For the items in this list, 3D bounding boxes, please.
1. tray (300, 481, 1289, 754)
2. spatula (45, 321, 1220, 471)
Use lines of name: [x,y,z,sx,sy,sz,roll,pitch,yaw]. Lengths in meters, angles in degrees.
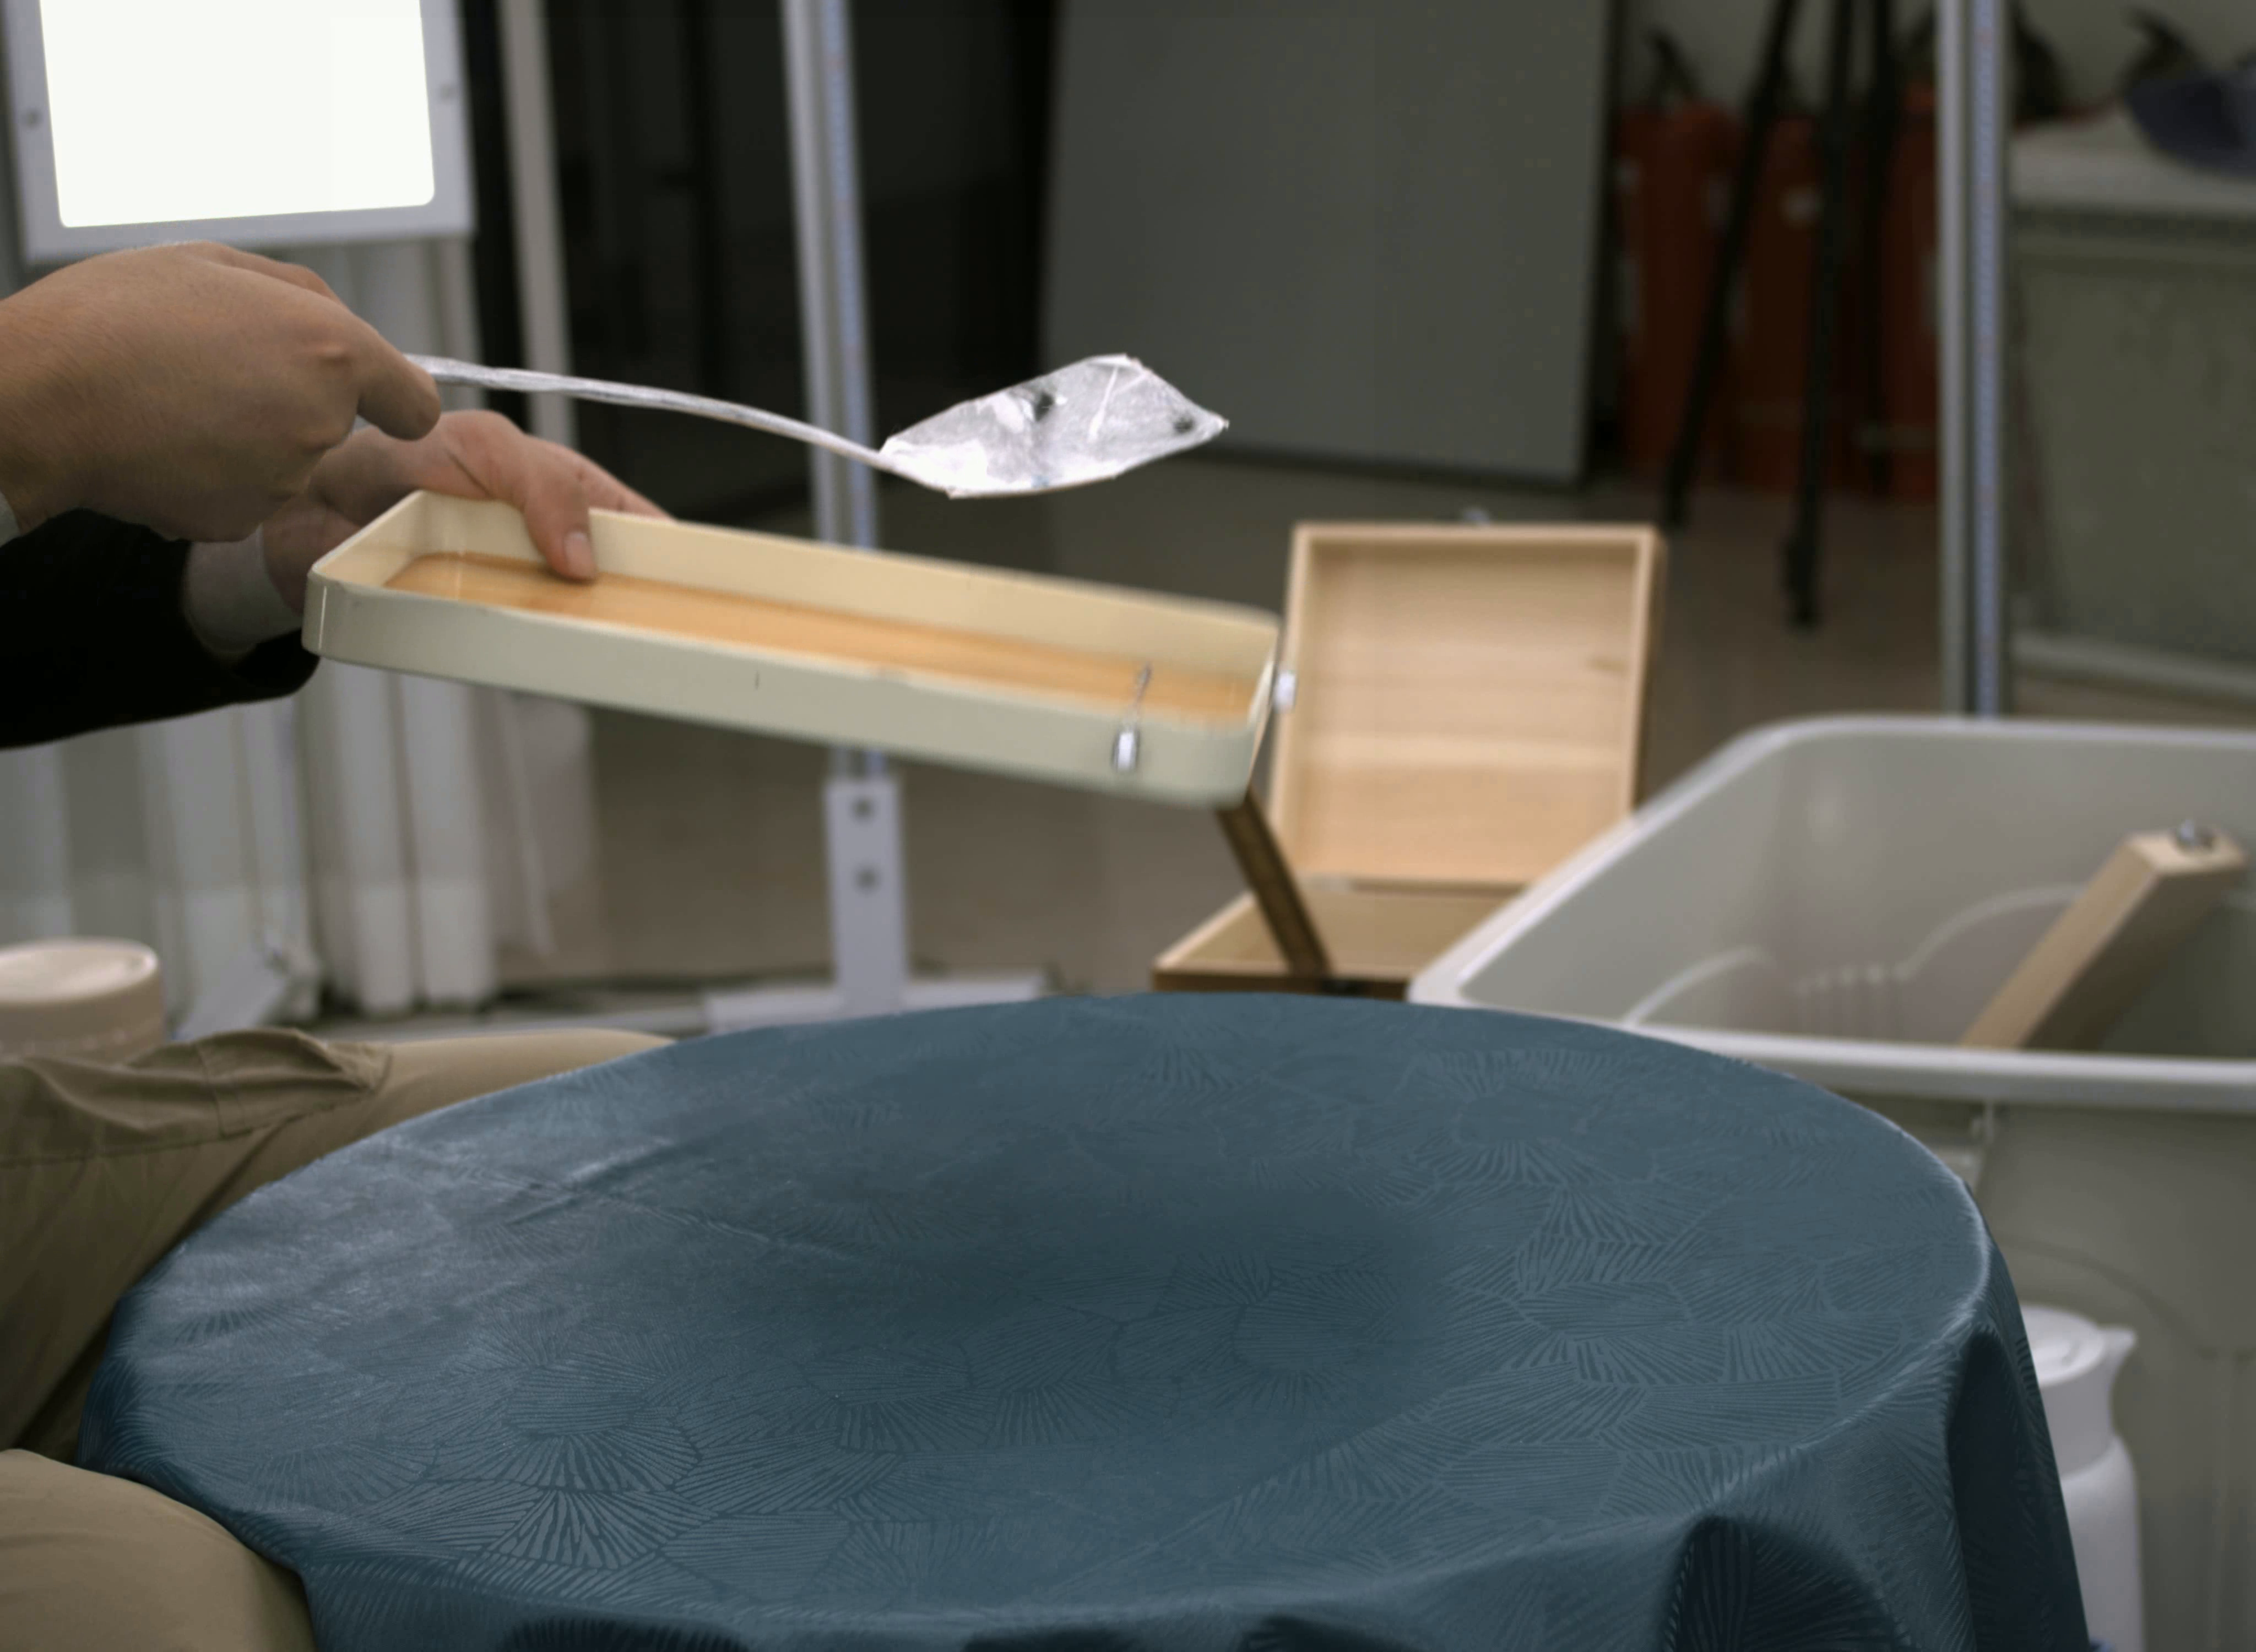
tray: [-0.101,-0.068,1.731,0.297,0.028,0.191,7,12,6]
spatula: [-0.145,-0.141,1.643,0.357,0.045,0.100,5,17,-24]
